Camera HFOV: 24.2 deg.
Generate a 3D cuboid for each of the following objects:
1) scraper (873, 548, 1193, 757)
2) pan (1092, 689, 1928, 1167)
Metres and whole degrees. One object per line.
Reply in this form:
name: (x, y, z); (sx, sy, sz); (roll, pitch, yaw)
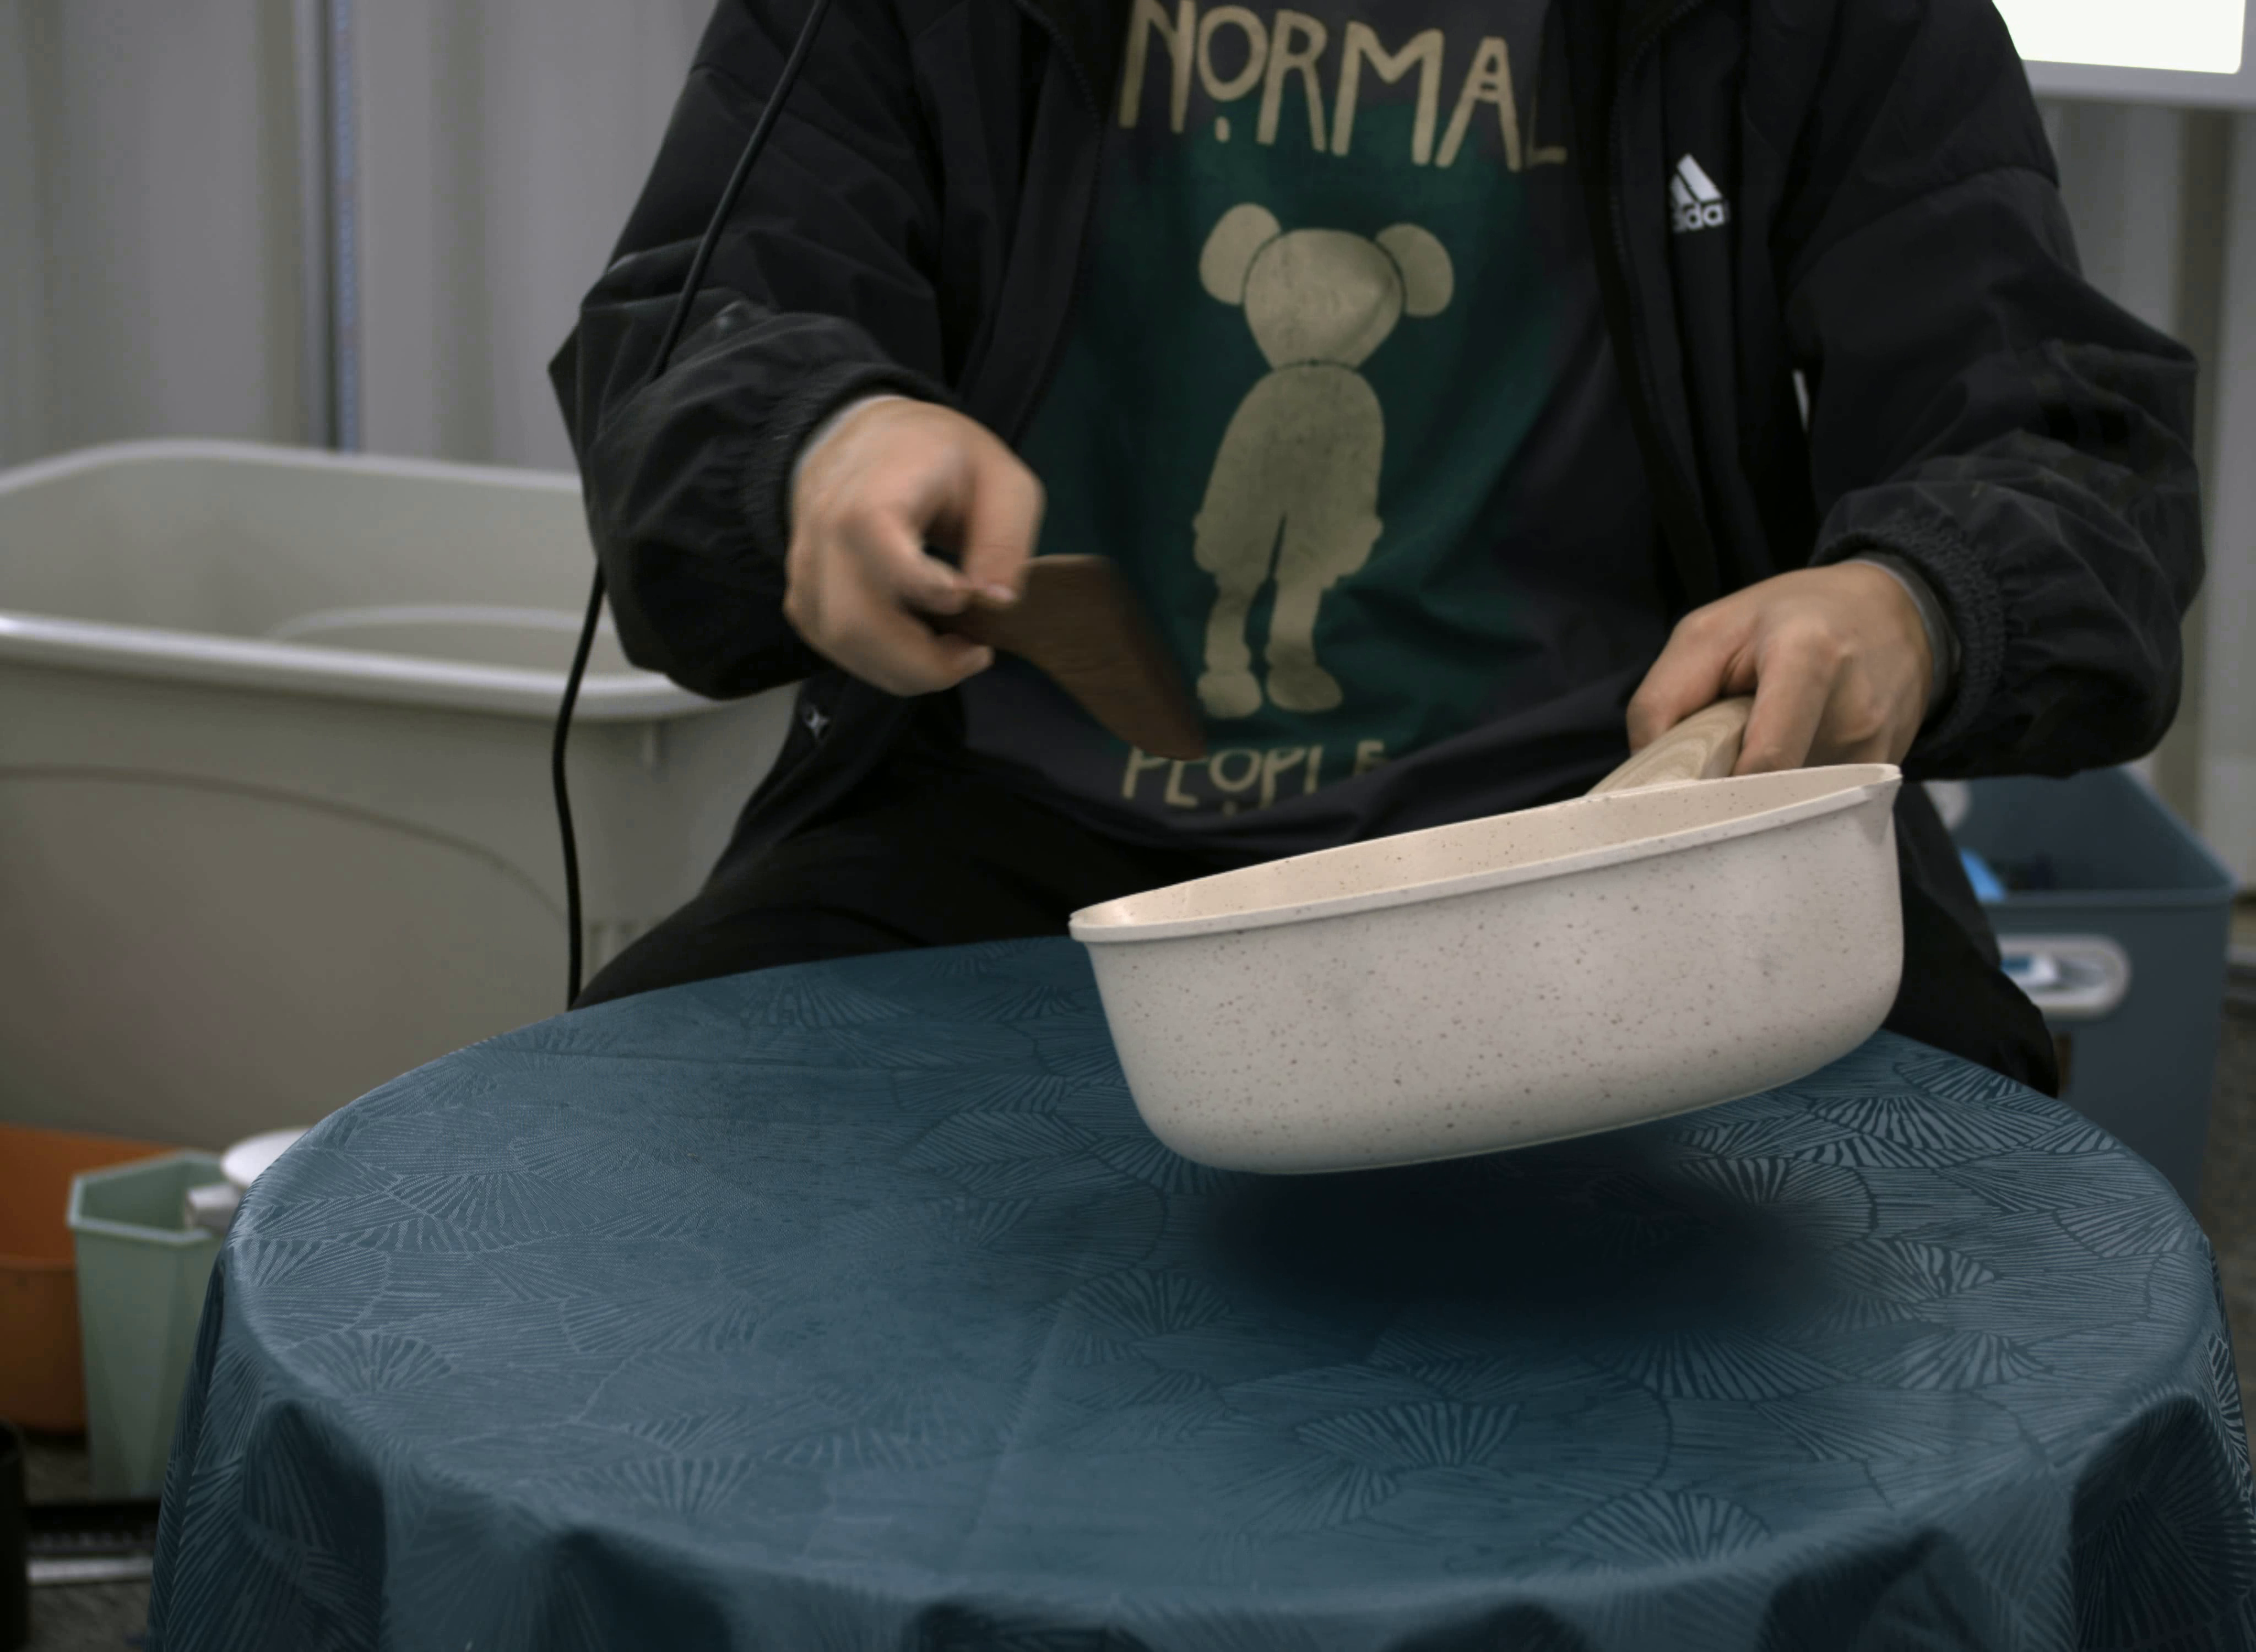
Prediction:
scraper: (-0.039, -0.062, 1.645); (0.011, 0.076, 0.209); (-40, 20, -13)
pan: (0.154, 0.025, 1.650); (0.261, 0.102, 0.436); (-11, 2, 24)
